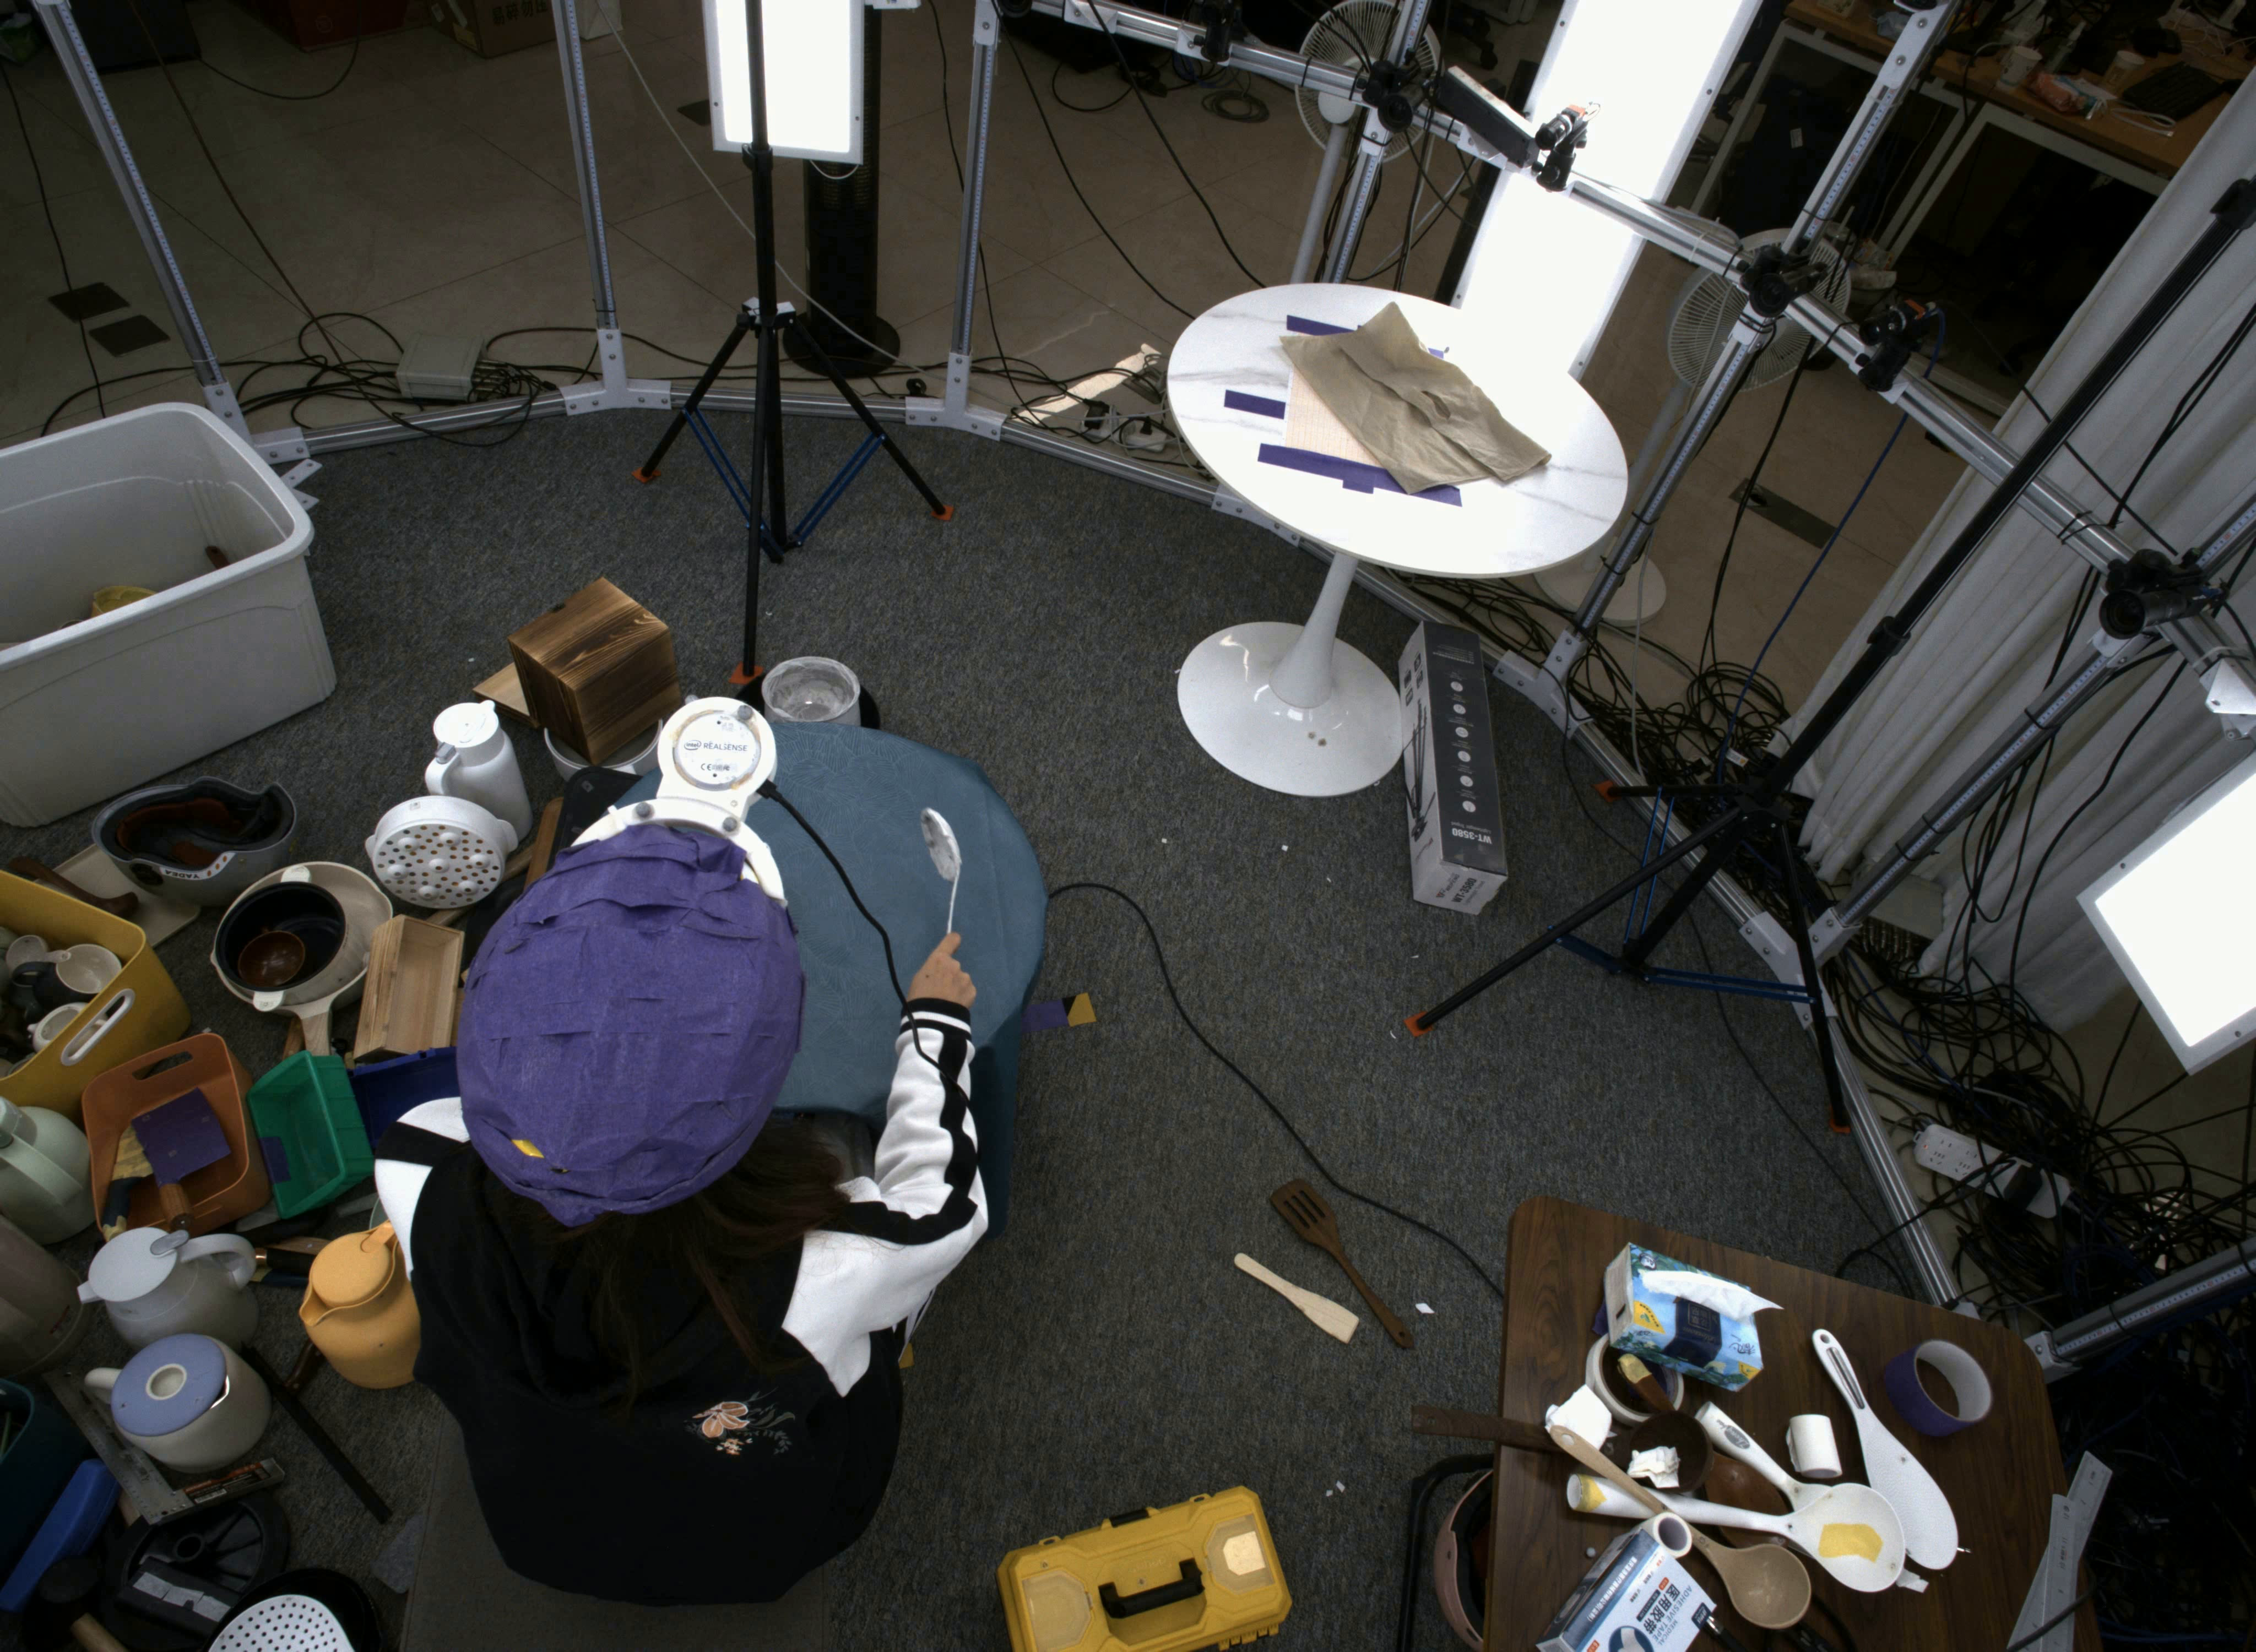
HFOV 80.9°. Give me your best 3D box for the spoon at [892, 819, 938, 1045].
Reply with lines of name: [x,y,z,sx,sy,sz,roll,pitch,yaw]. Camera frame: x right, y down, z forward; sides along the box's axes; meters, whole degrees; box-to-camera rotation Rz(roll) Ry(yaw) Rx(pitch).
spoon: [-0.266,0.122,1.537,0.060,0.100,0.273,19,56,-24]

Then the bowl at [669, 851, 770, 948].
bowl: [-0.498,0.095,1.580,0.118,0.071,0.116,7,52,-8]
